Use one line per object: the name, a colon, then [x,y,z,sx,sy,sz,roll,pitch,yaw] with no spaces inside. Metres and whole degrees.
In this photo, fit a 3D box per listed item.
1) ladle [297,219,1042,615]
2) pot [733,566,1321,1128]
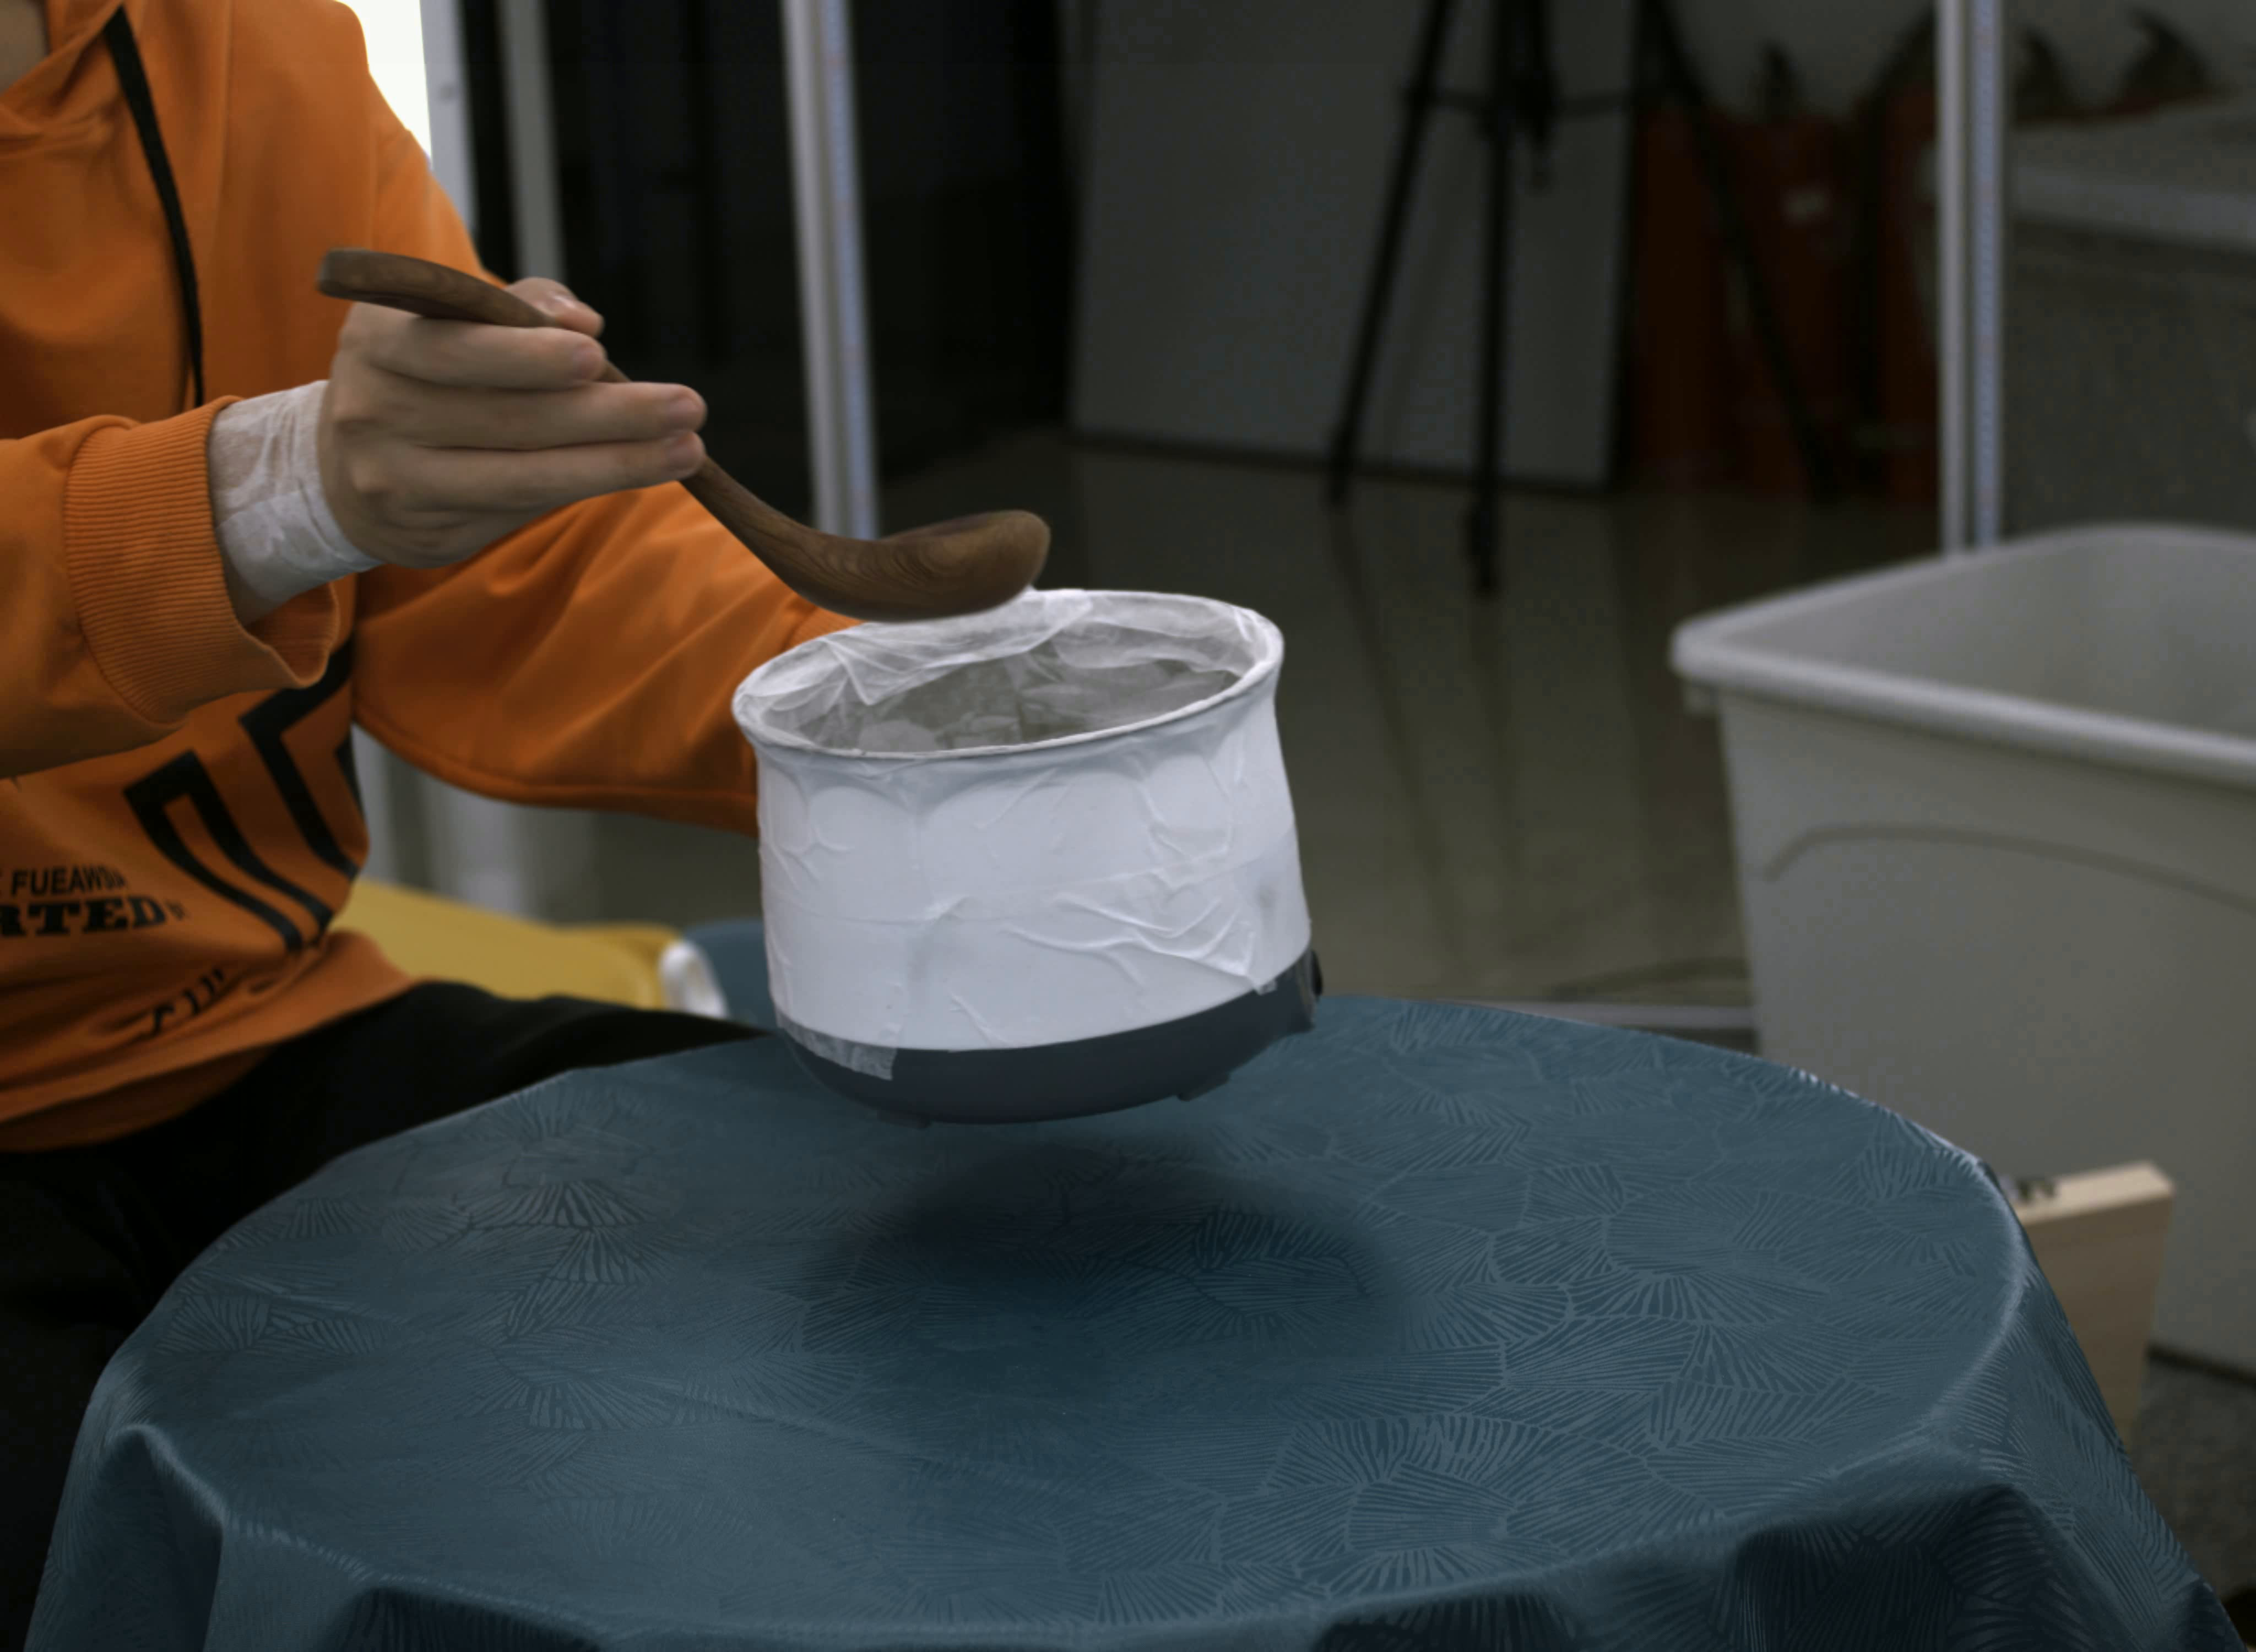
ladle: [-0.133,-0.132,1.618,0.256,0.065,0.077,32,-27,-29]
pot: [-0.032,0.001,1.744,0.176,0.138,0.234,-6,17,-1]
